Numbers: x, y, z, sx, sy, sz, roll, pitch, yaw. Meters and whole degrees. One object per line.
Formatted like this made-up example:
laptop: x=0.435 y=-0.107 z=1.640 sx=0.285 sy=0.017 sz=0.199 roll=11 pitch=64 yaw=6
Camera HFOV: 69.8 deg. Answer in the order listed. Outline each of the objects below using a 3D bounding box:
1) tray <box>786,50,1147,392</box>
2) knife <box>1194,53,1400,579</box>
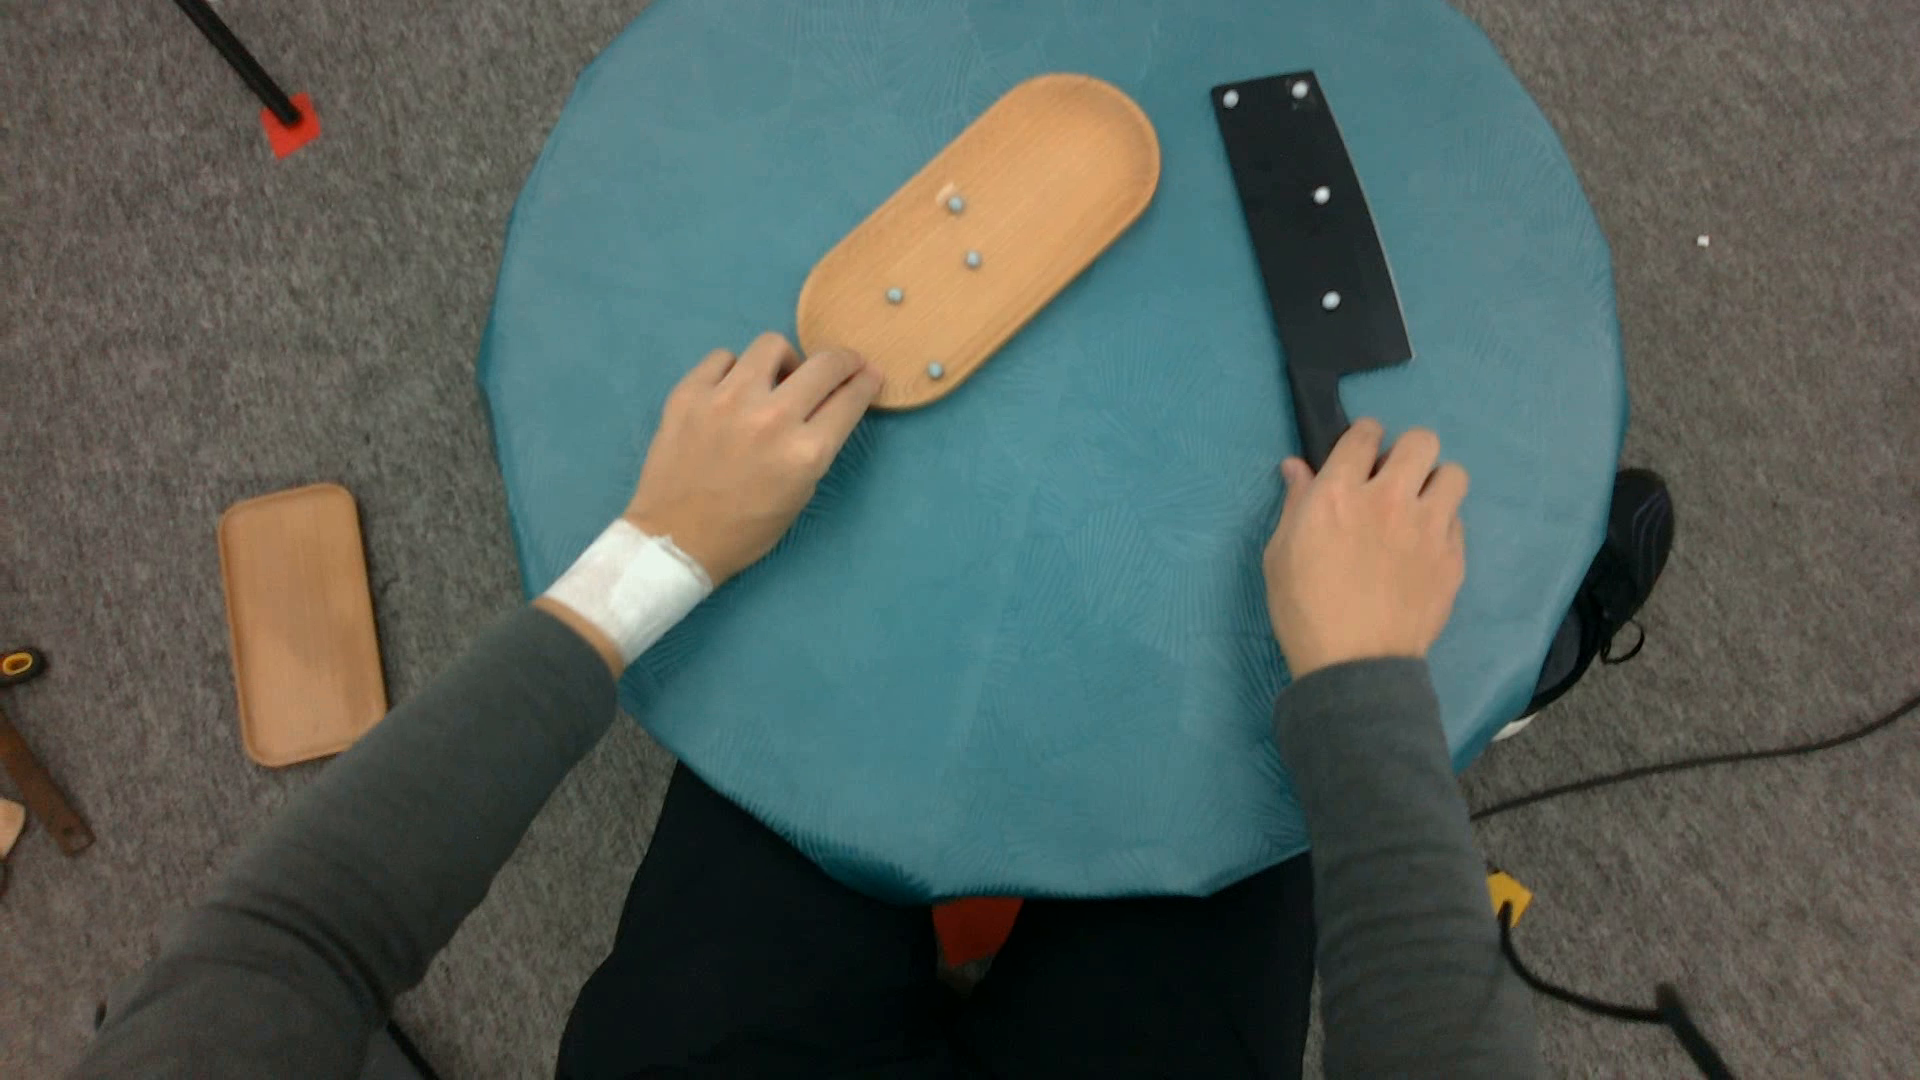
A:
tray: x=0.005 y=-0.171 z=0.736 sx=0.102 sy=0.020 sz=0.231 roll=44 pitch=79 yaw=7
knife: x=0.187 y=-0.125 z=0.728 sx=0.081 sy=0.021 sz=0.303 roll=-7 pitch=75 yaw=-3
